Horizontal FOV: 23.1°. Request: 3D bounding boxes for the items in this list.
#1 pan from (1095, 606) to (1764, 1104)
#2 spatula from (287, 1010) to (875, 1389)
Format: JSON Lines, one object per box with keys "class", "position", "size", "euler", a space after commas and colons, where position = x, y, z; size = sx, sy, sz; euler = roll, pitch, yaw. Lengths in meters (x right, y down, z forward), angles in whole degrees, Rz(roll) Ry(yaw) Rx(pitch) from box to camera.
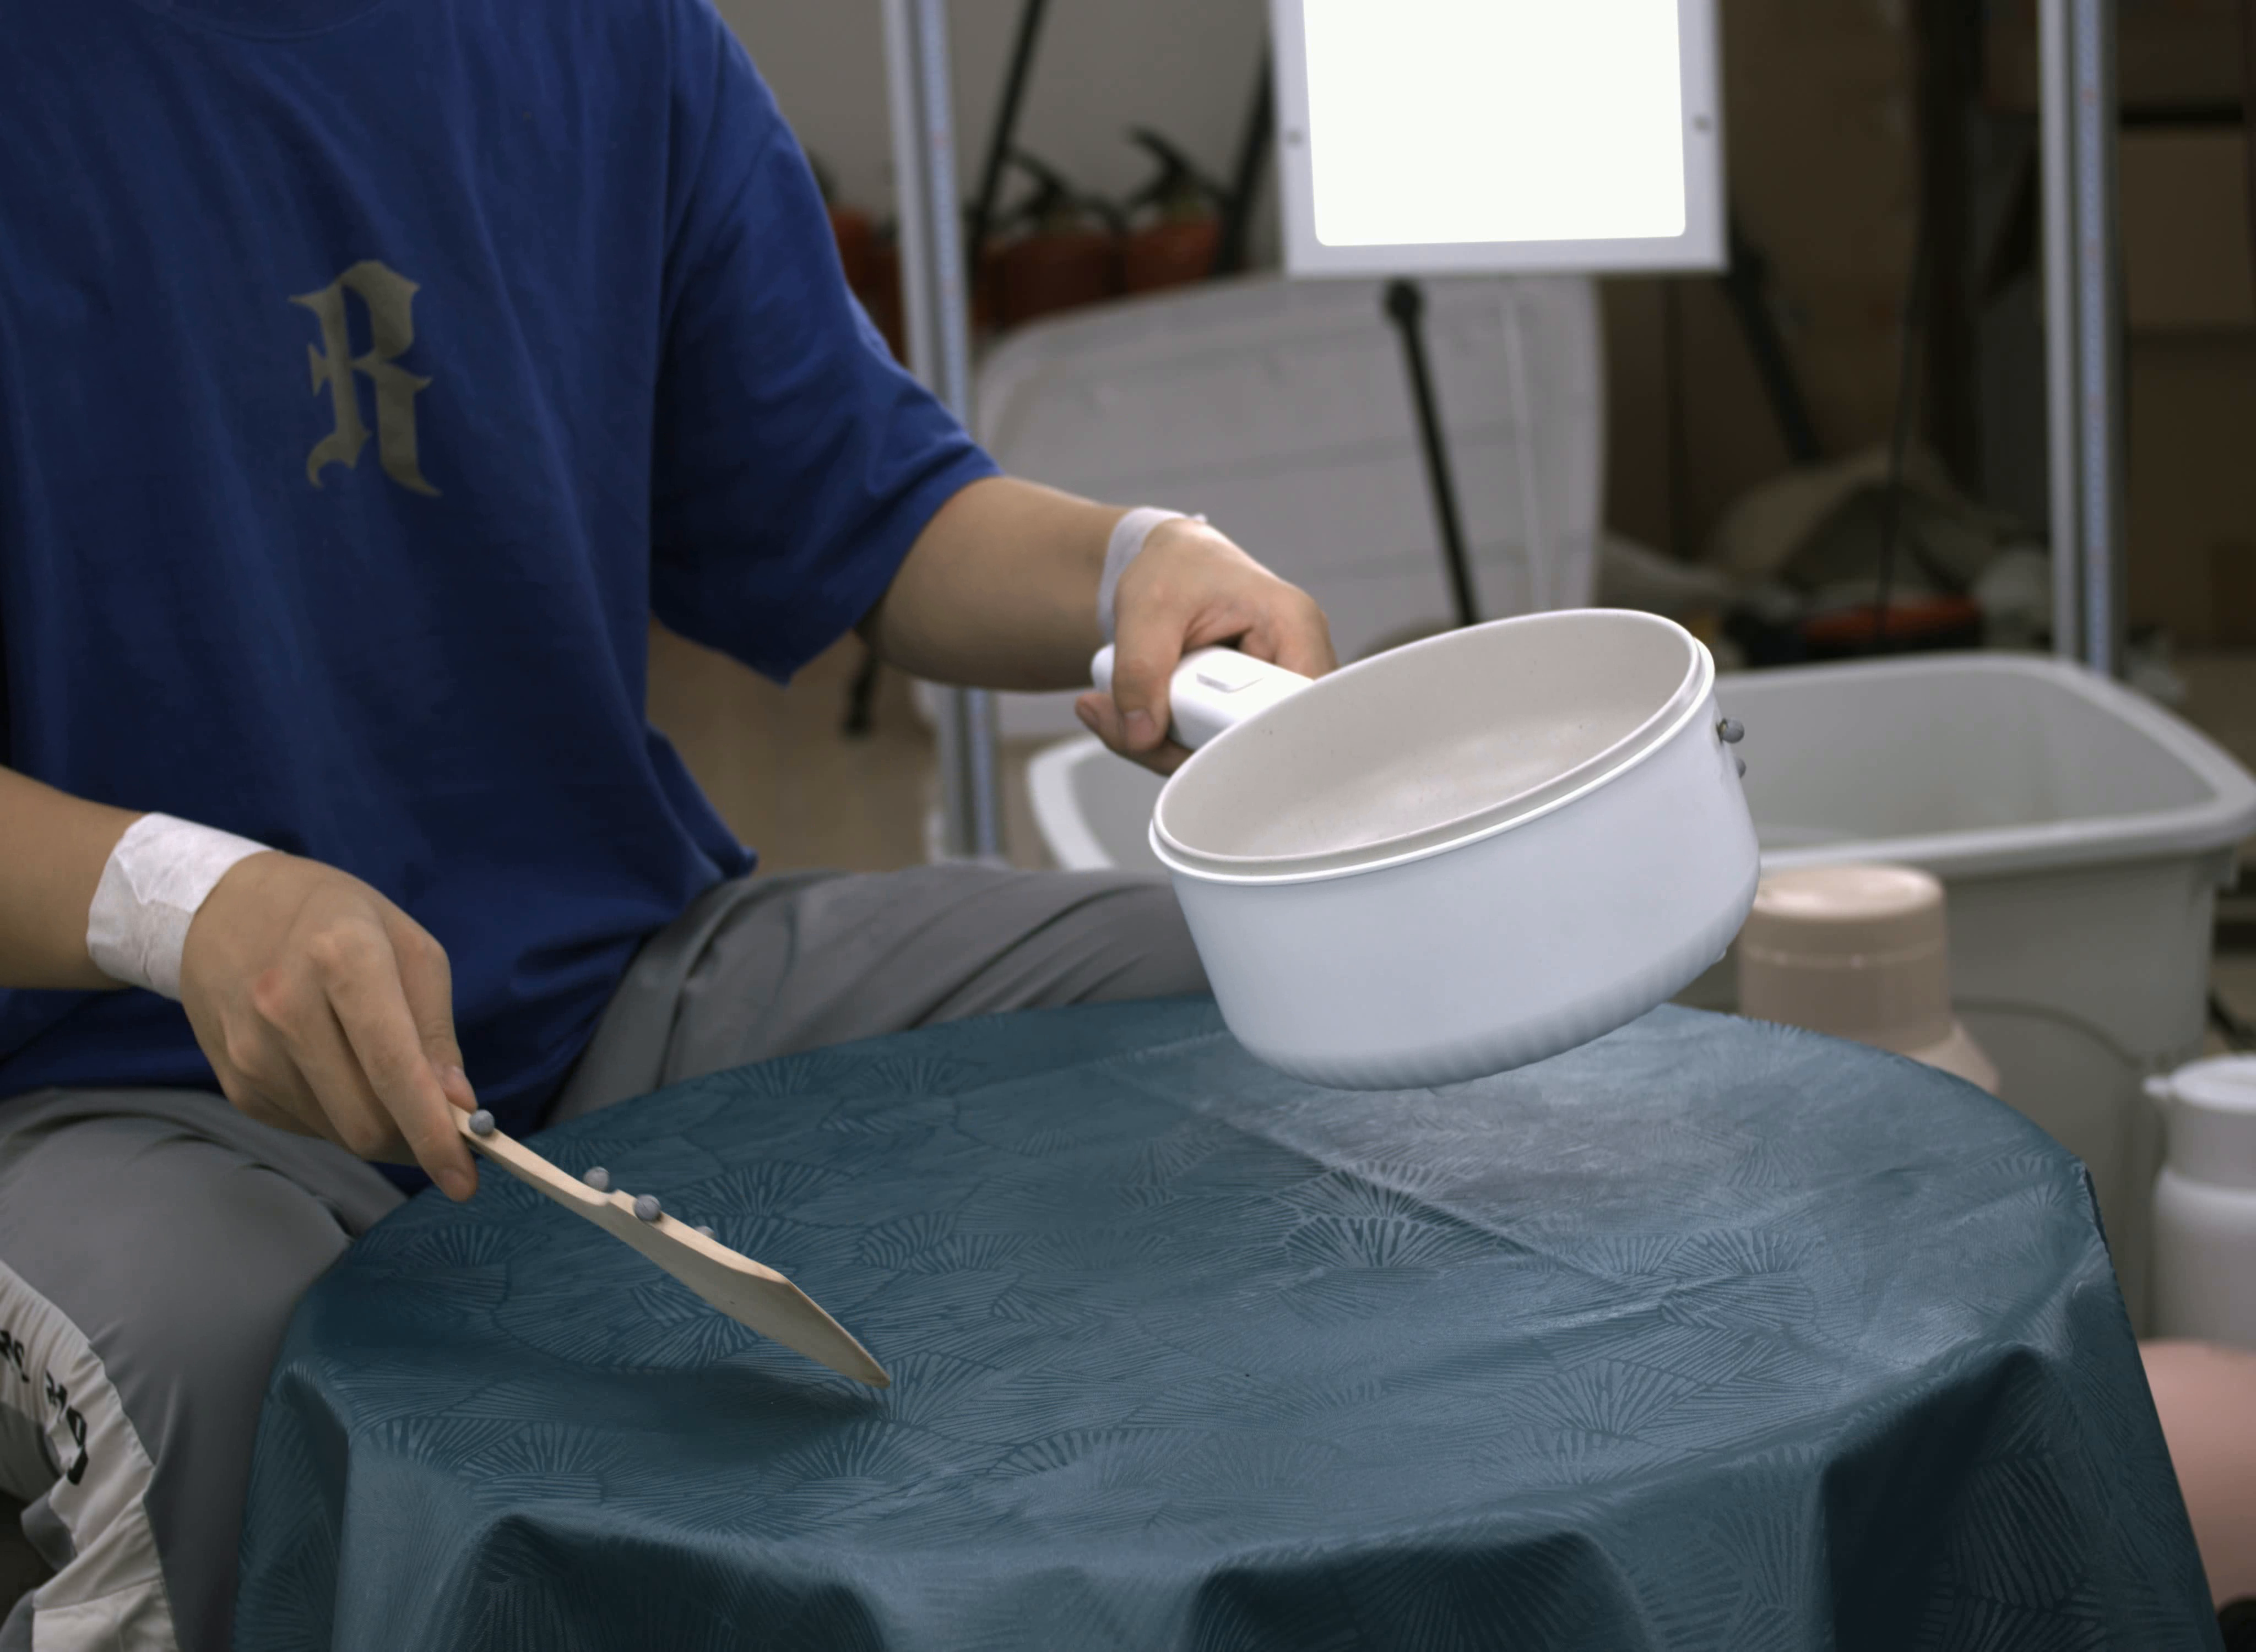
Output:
{"class": "pan", "position": [0.087, 0.000, 1.951], "size": [0.198, 0.102, 0.360], "euler": [-28, 20, -17]}
{"class": "spatula", "position": [-0.189, 0.112, 1.787], "size": [0.298, 0.071, 0.010], "euler": [25, 71, 45]}
